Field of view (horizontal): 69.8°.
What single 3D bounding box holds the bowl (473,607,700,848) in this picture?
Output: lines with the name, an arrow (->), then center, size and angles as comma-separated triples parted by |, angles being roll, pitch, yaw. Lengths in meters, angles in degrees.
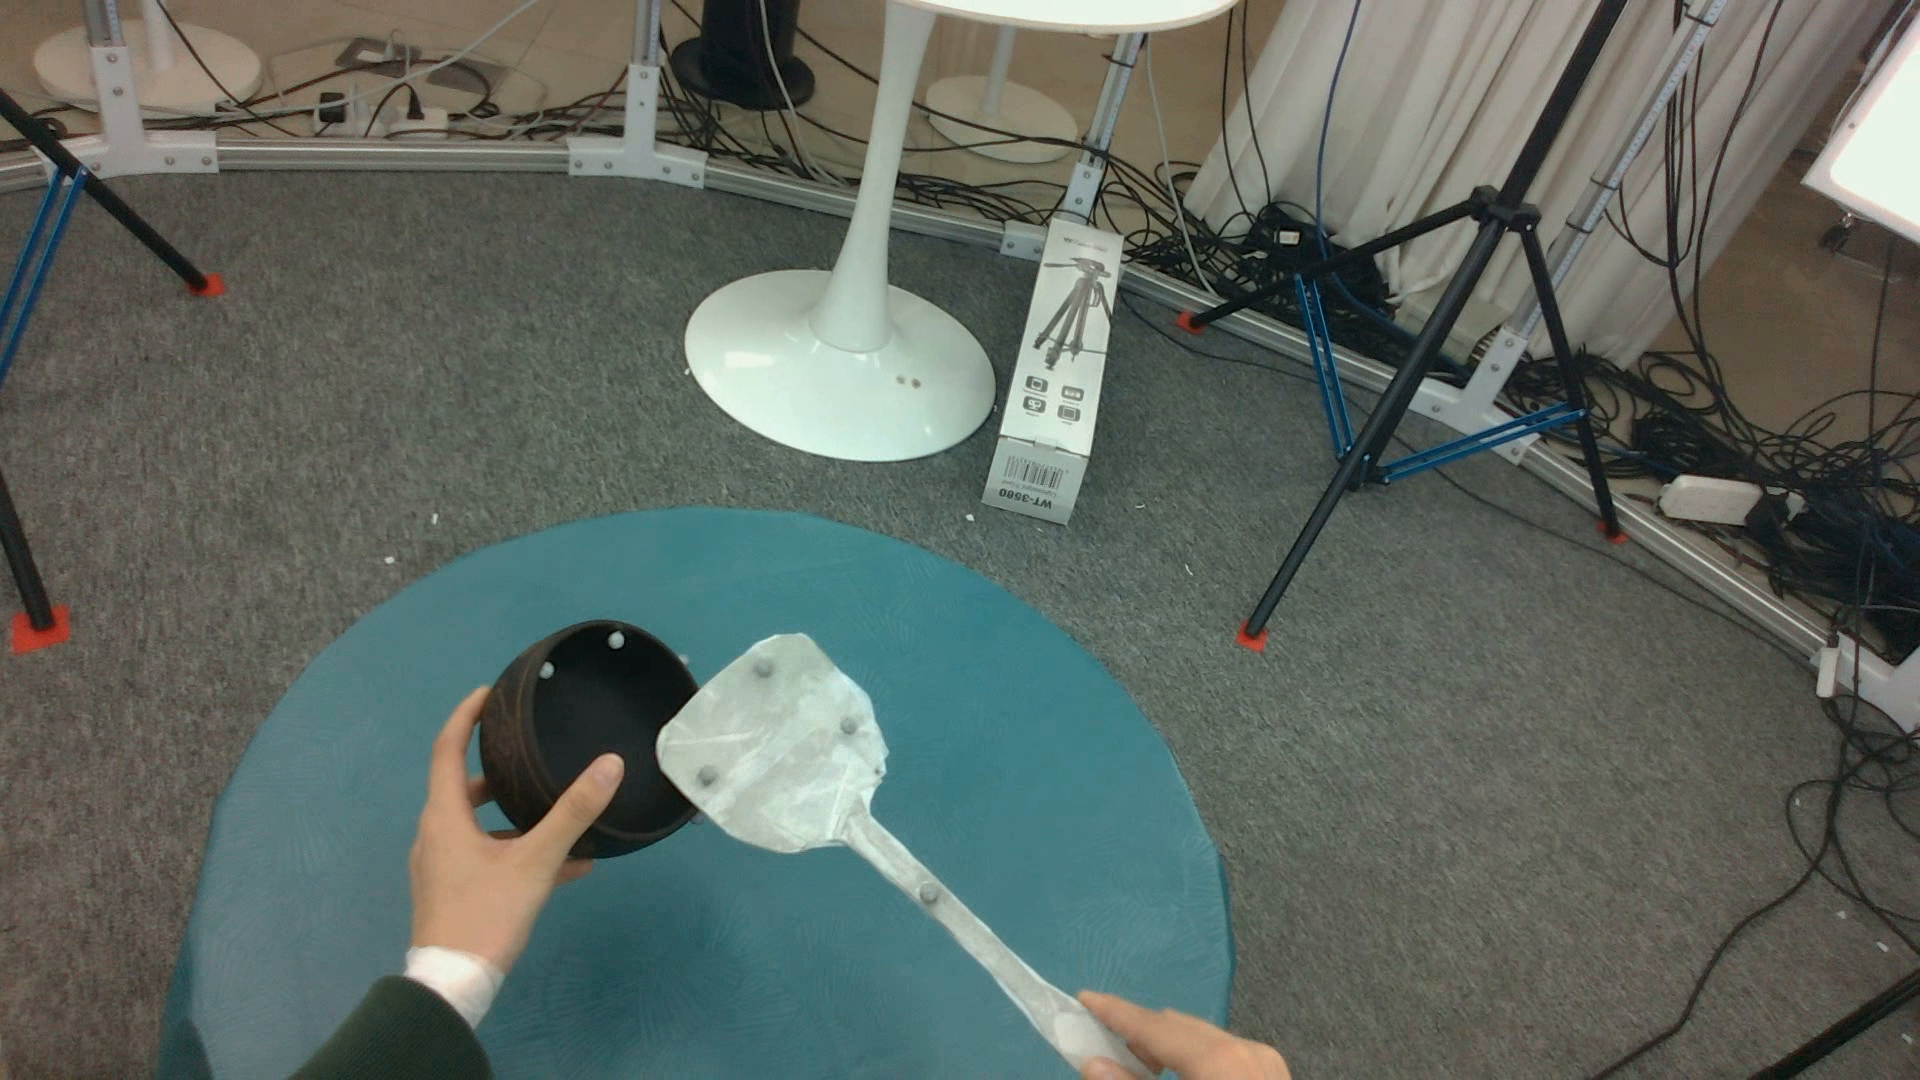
bowl -> -0.192, 0.099, 0.696 | 0.118, 0.069, 0.118 | 33, 43, -37

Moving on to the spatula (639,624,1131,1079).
spatula -> -0.007, 0.166, 0.603 | 0.099, 0.044, 0.365 | -39, 54, -20
